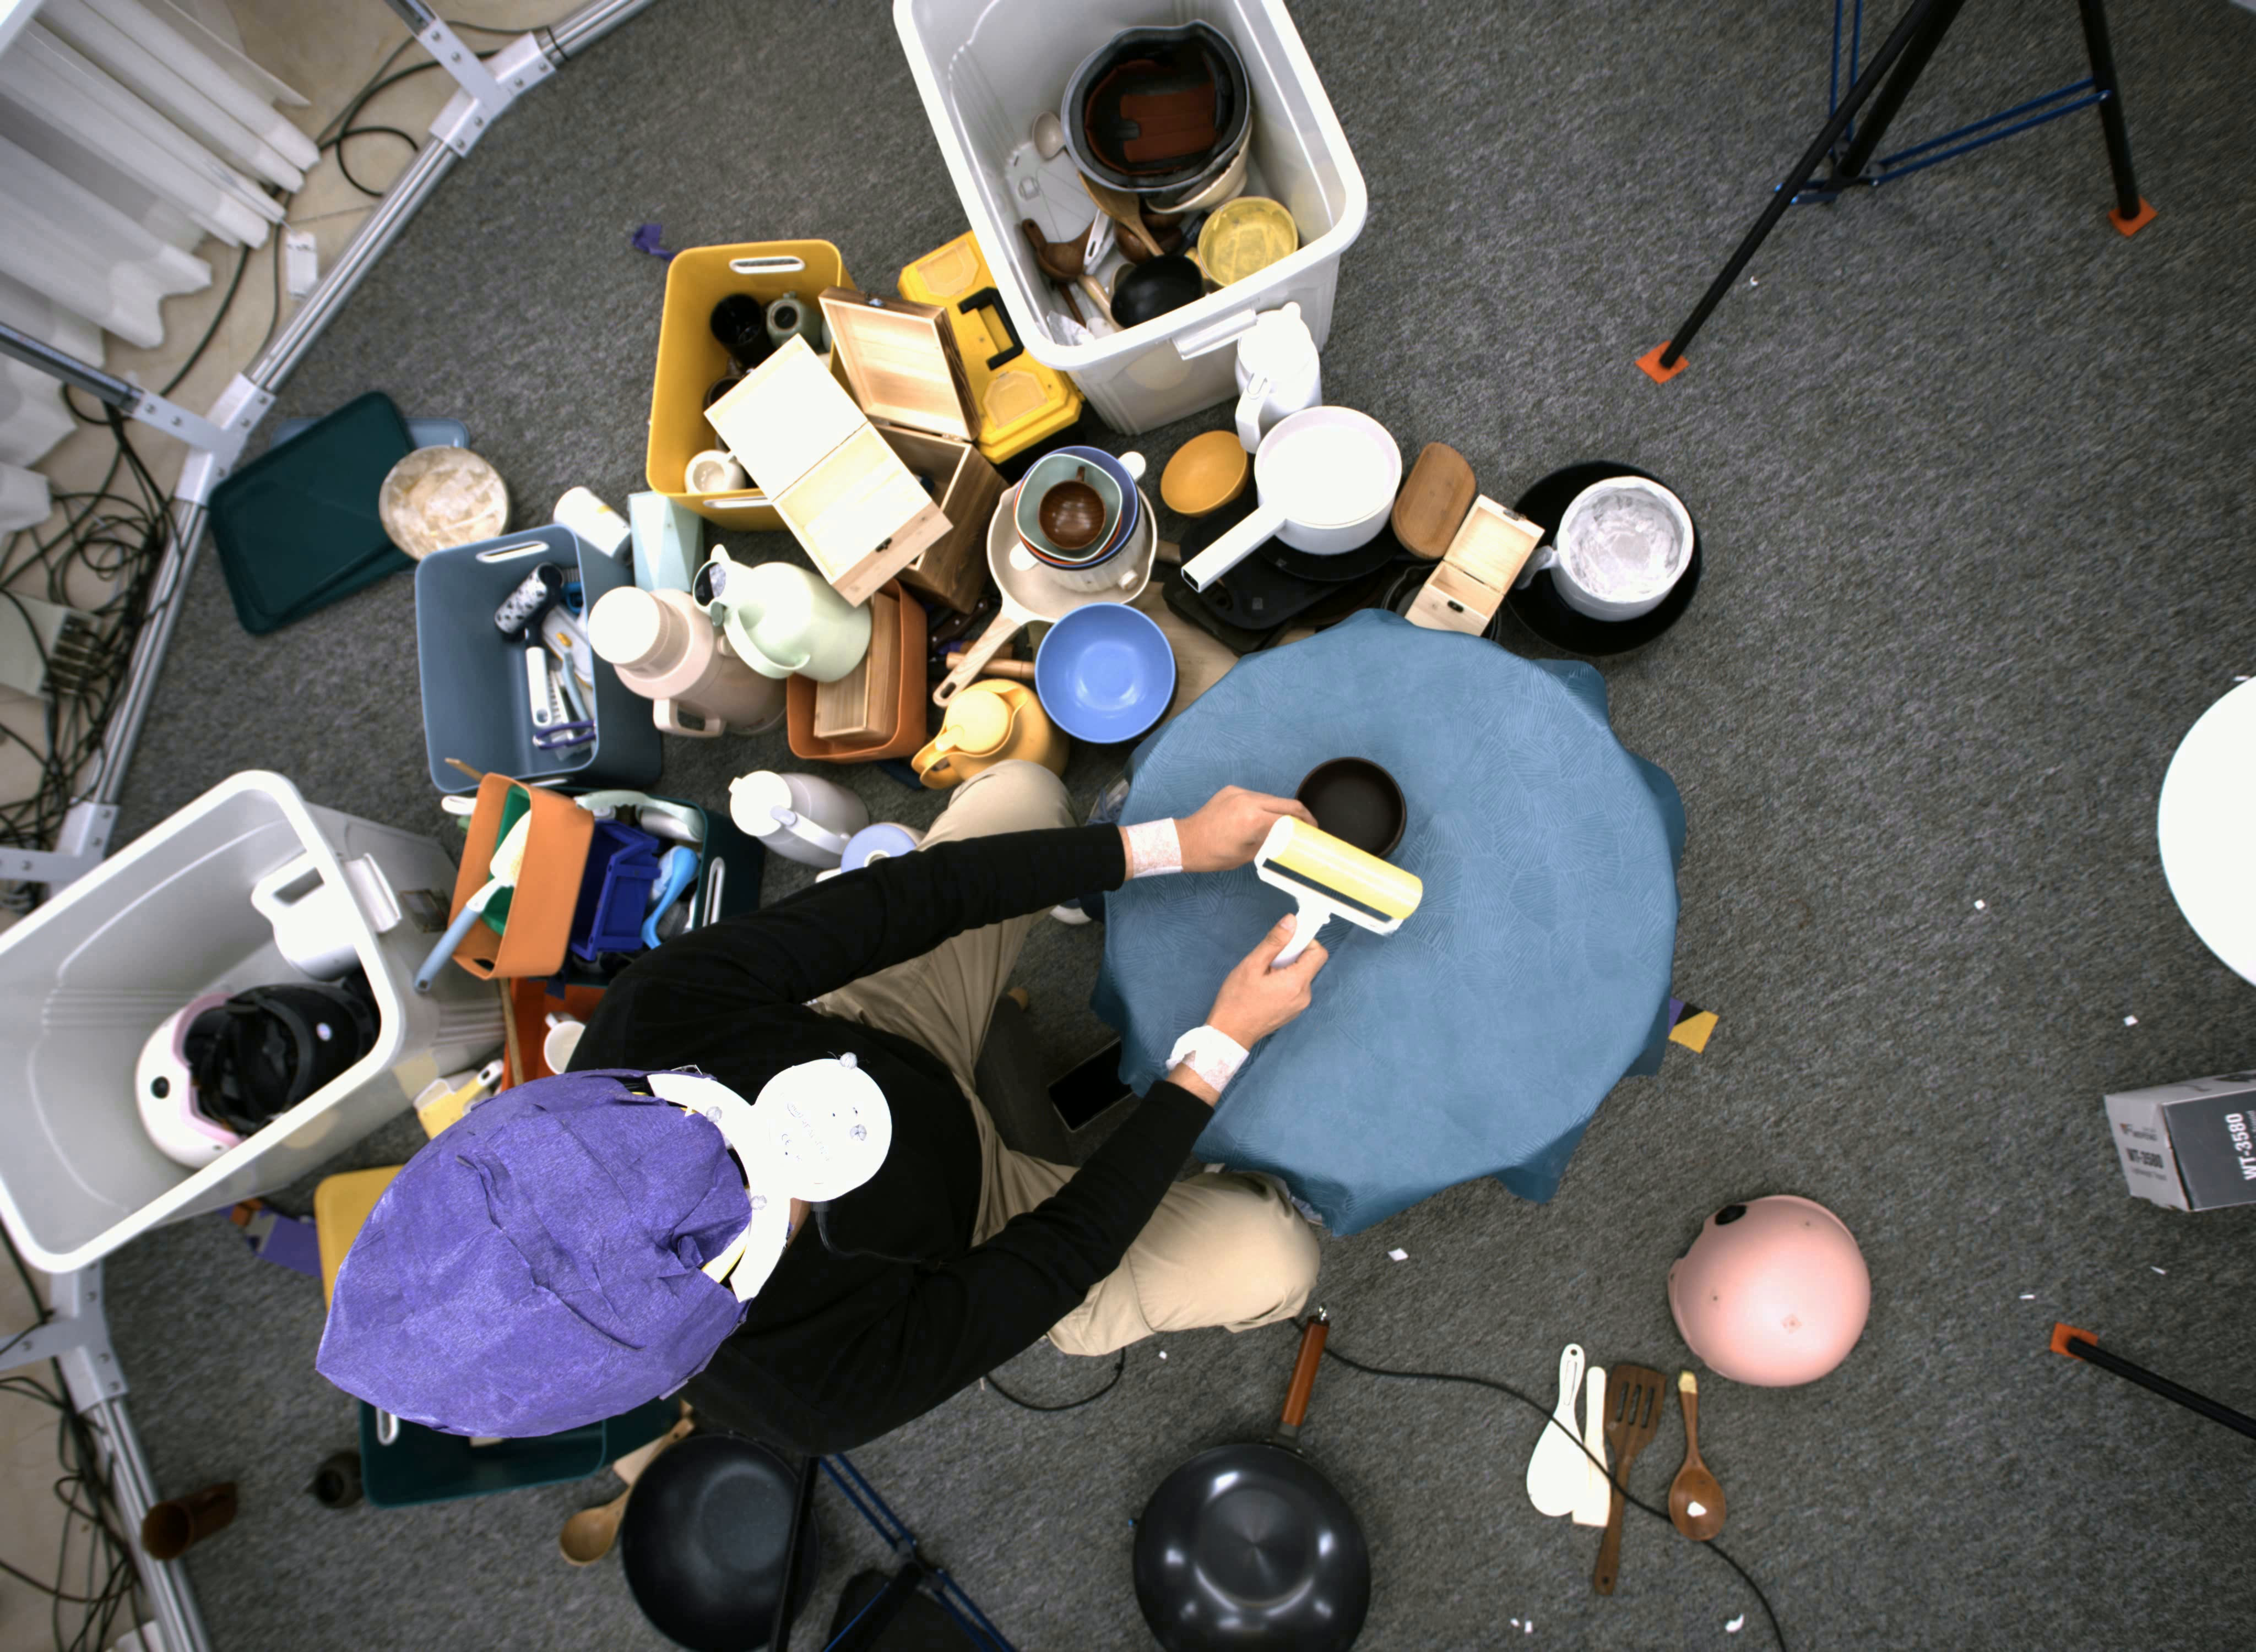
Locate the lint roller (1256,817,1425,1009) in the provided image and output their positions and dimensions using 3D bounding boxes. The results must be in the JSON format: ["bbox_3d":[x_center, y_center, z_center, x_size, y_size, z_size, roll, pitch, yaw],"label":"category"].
[{"bbox_3d":[0.184,0.105,1.379,0.175,0.051,0.194,22,102,-20],"label":"lint roller"}]

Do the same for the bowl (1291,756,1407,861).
[{"bbox_3d":[0.231,-0.011,1.433,0.118,0.070,0.117,-2,83,13],"label":"bowl"}]
